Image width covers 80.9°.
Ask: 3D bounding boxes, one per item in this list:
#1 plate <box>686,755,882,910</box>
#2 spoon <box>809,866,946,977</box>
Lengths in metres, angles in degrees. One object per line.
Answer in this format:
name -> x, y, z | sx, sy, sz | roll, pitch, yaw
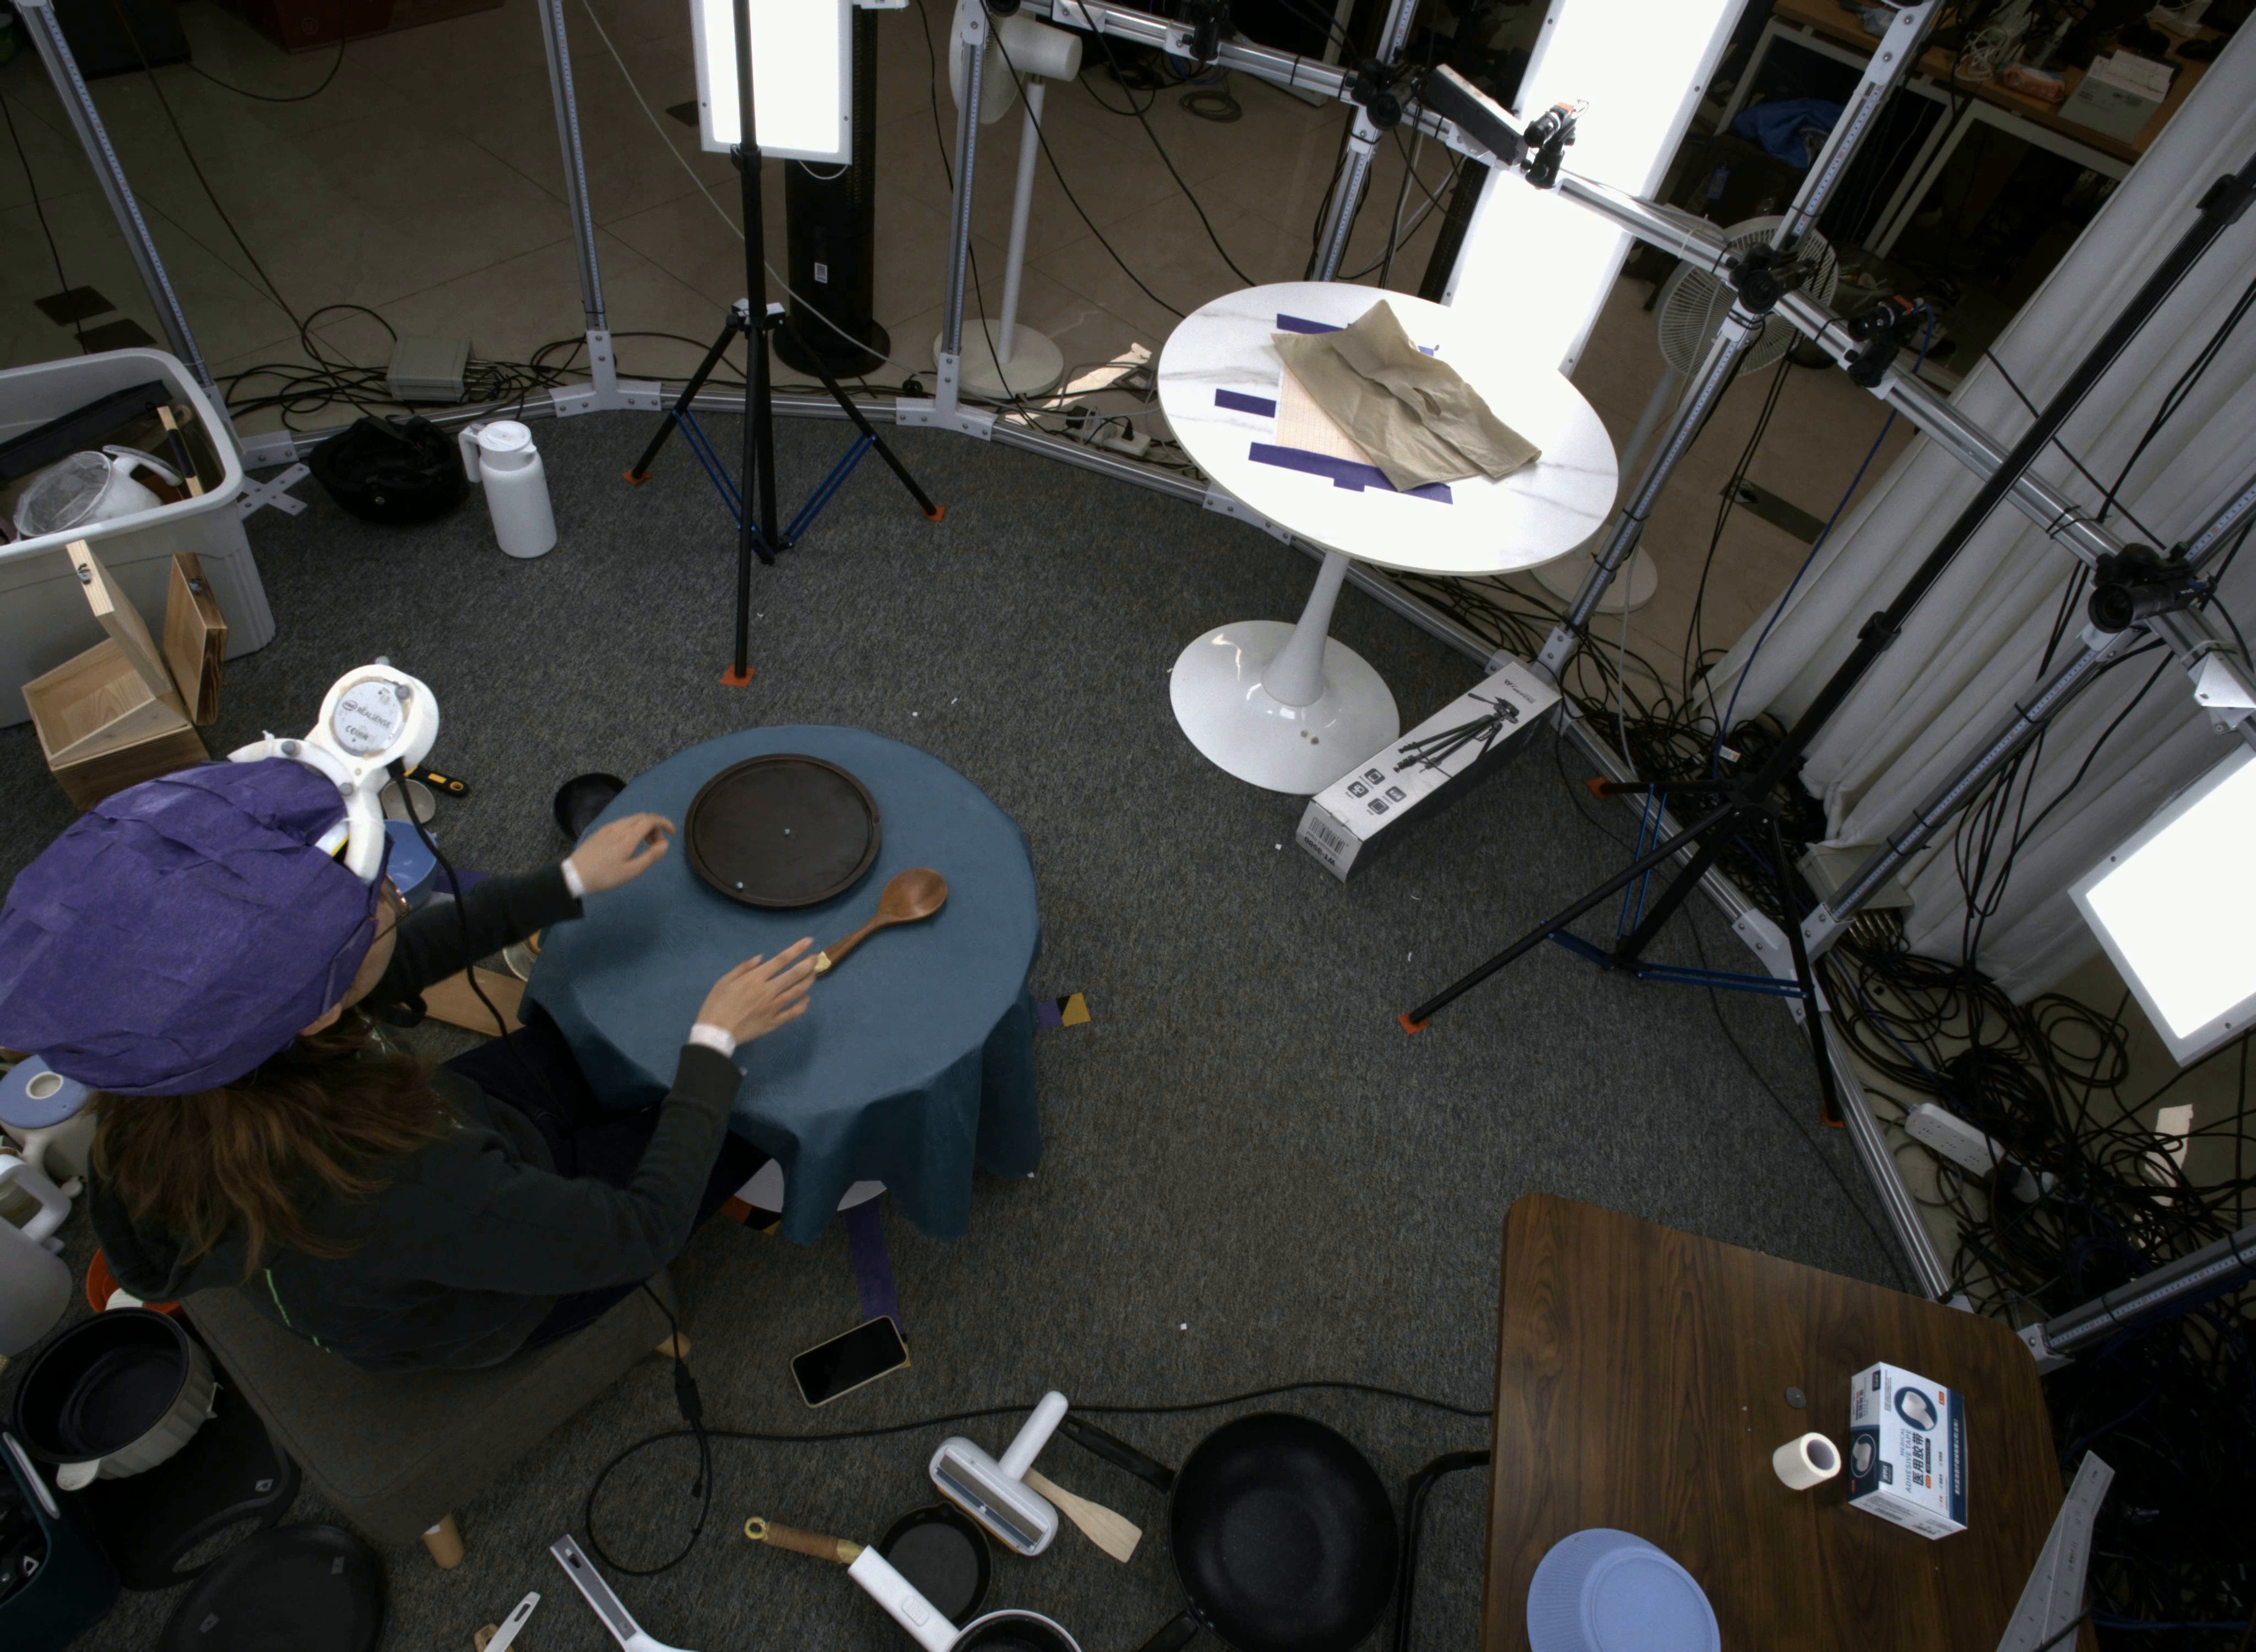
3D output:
plate -> -0.451, 0.006, 1.704 | 0.254, 0.029, 0.250 | 8, 51, -9
spoon -> -0.320, 0.121, 1.655 | 0.074, 0.017, 0.216 | 40, 54, 16
